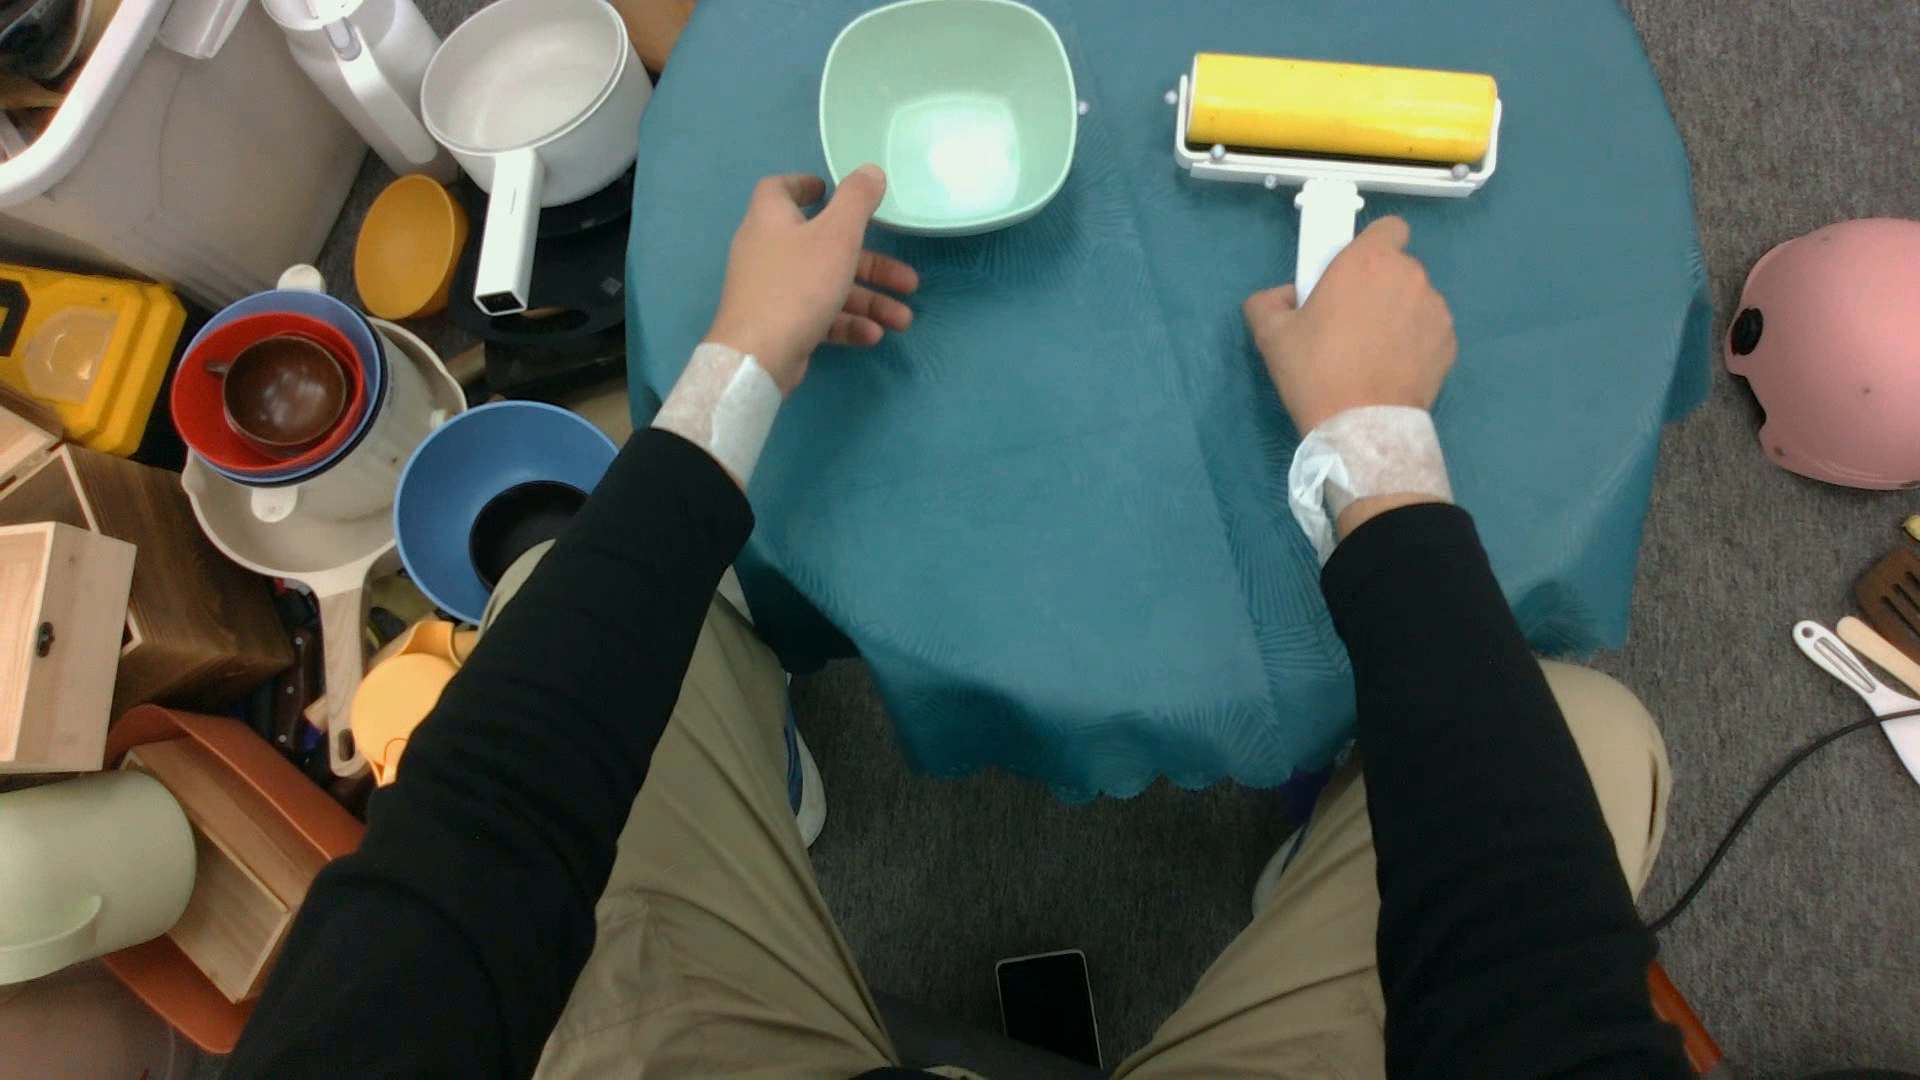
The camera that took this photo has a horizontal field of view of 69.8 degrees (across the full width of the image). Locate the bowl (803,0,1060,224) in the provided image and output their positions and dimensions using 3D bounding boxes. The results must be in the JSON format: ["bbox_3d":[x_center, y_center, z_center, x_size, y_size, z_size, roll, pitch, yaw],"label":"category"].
[{"bbox_3d":[-0.015,-0.231,0.768,0.151,0.058,0.152,0,74,1],"label":"bowl"}]

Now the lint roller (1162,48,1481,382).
[{"bbox_3d":[0.196,-0.181,0.745,0.174,0.051,0.192,3,67,3],"label":"lint roller"}]
